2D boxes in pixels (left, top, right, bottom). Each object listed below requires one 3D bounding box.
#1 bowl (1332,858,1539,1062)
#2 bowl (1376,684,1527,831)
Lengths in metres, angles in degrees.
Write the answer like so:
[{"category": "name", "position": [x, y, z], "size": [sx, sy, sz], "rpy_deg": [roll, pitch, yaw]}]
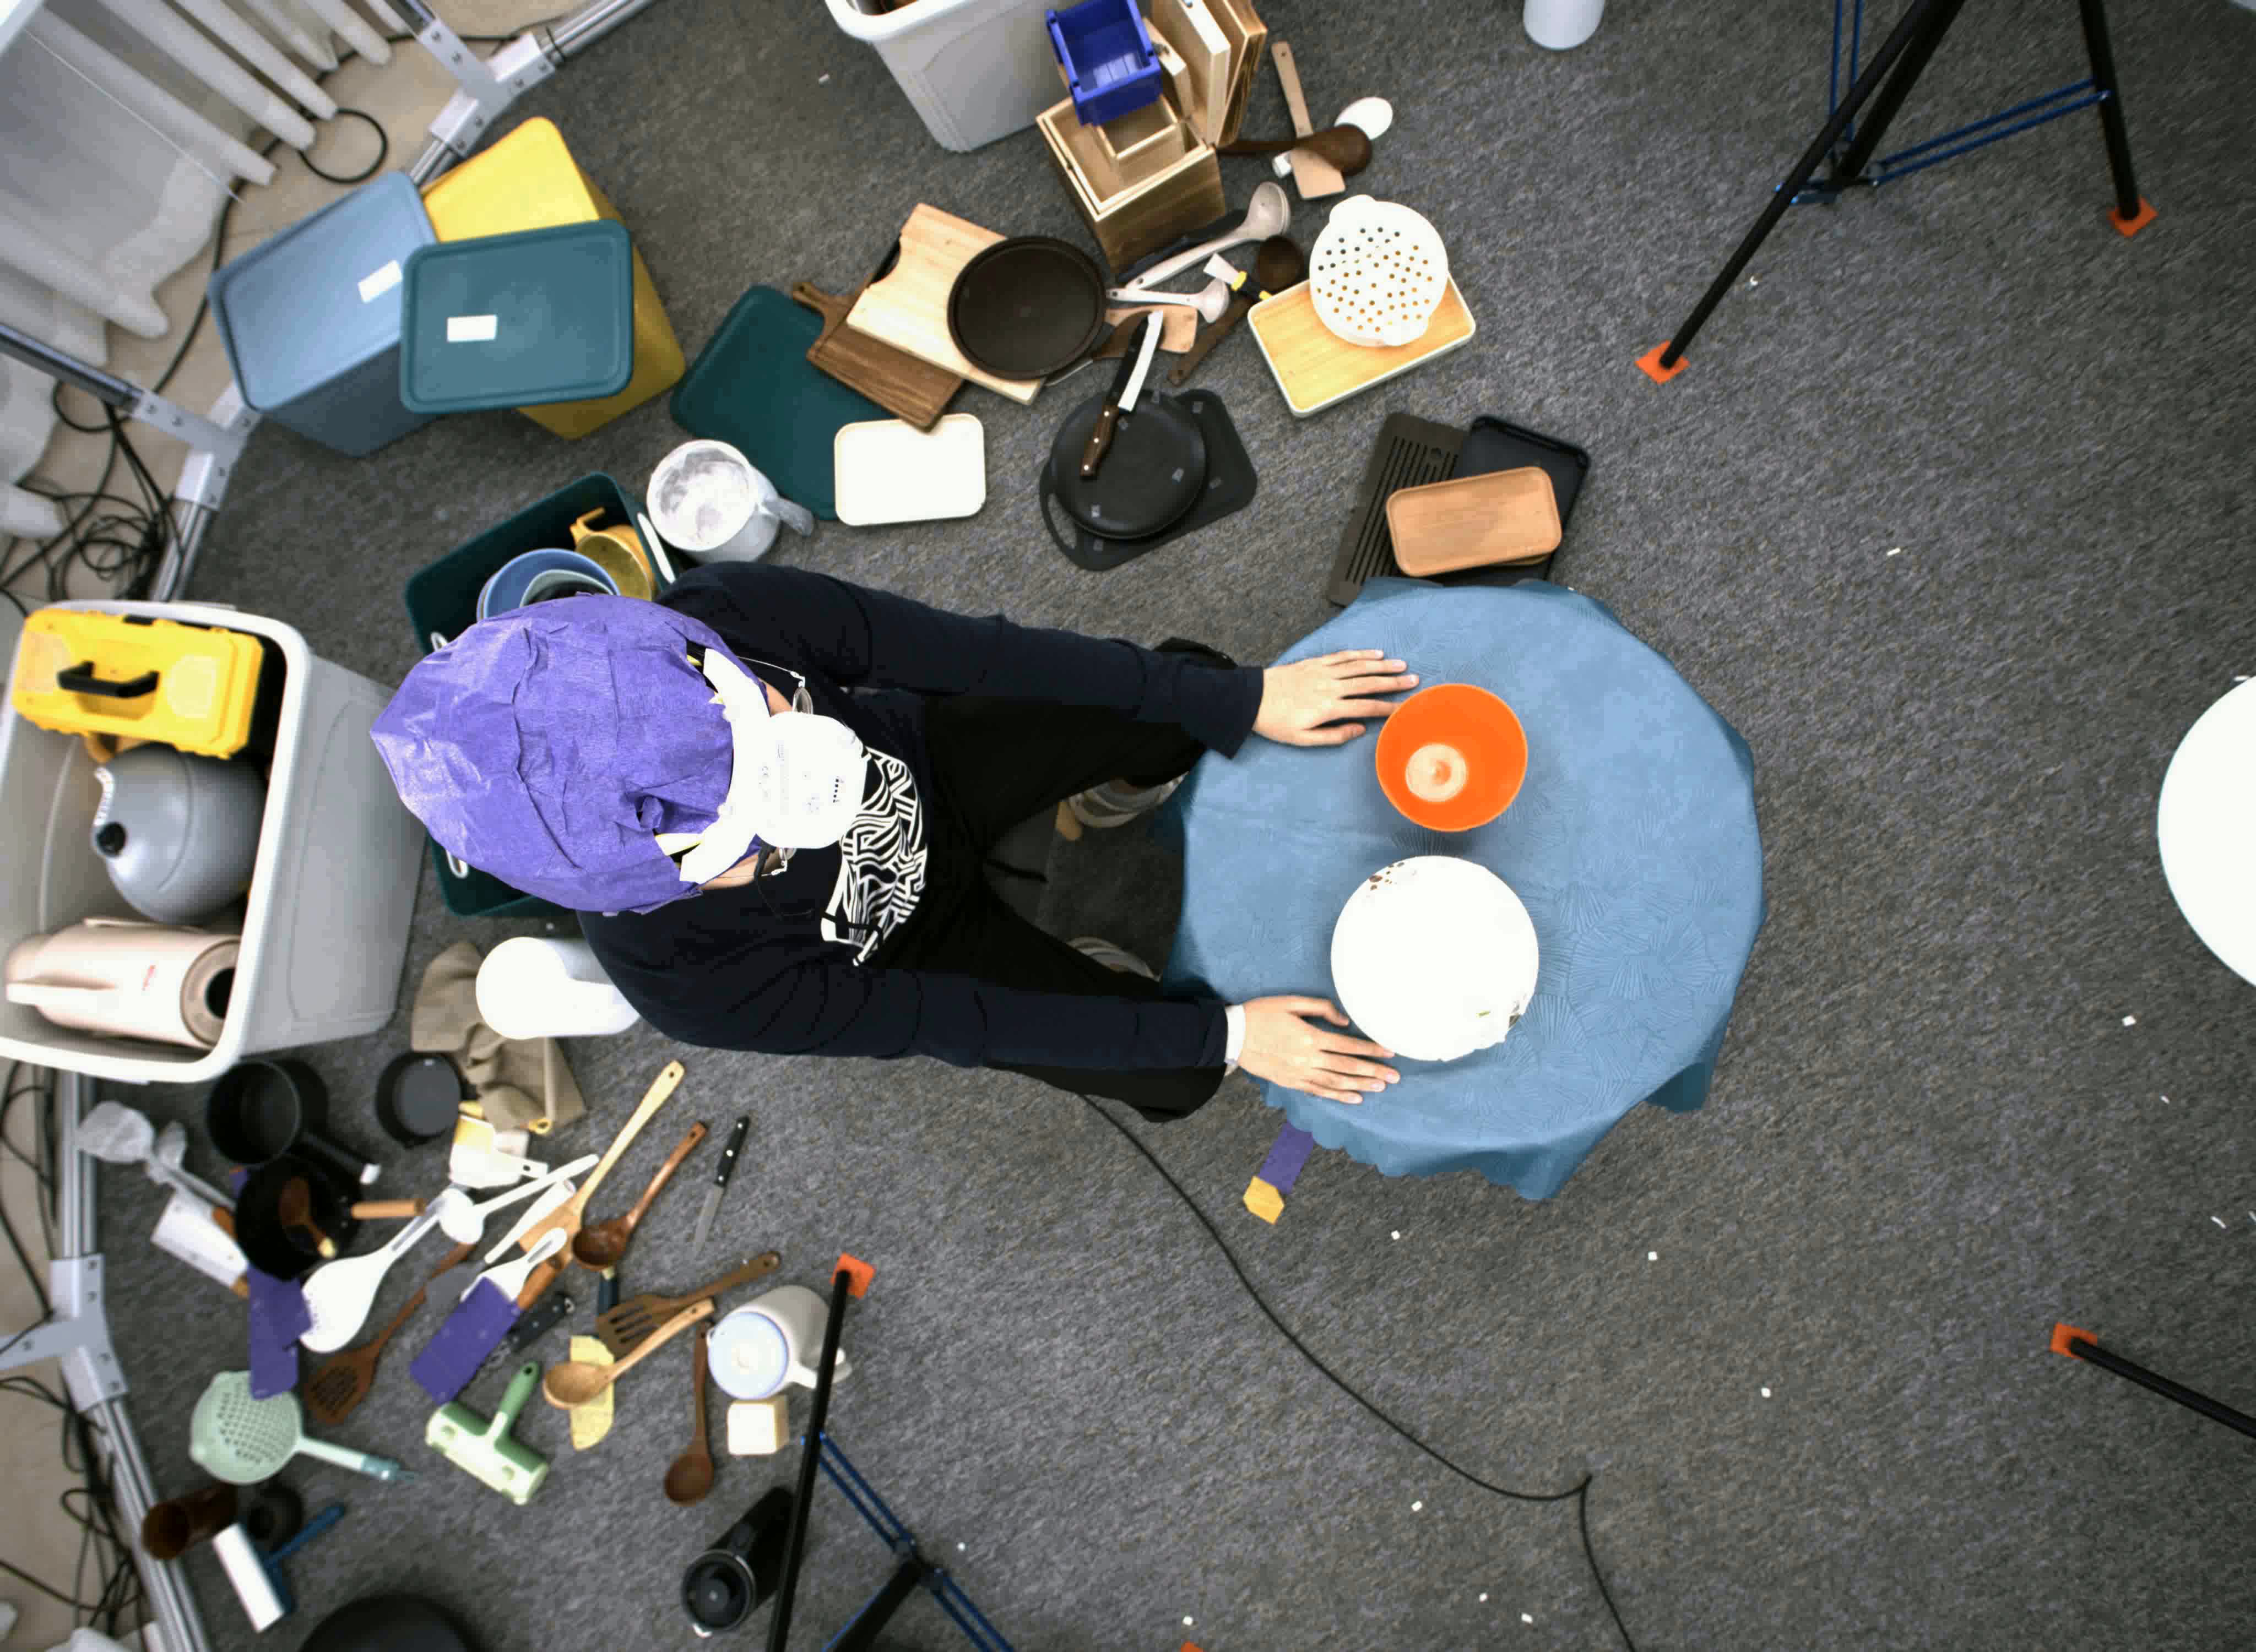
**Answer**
[{"category": "bowl", "position": [0.314, 0.136, 1.413], "size": [0.205, 0.078, 0.202], "rpy_deg": [-2, 84, 15]}, {"category": "bowl", "position": [0.329, -0.065, 1.406], "size": [0.148, 0.104, 0.147], "rpy_deg": [-1, 86, 12]}]
